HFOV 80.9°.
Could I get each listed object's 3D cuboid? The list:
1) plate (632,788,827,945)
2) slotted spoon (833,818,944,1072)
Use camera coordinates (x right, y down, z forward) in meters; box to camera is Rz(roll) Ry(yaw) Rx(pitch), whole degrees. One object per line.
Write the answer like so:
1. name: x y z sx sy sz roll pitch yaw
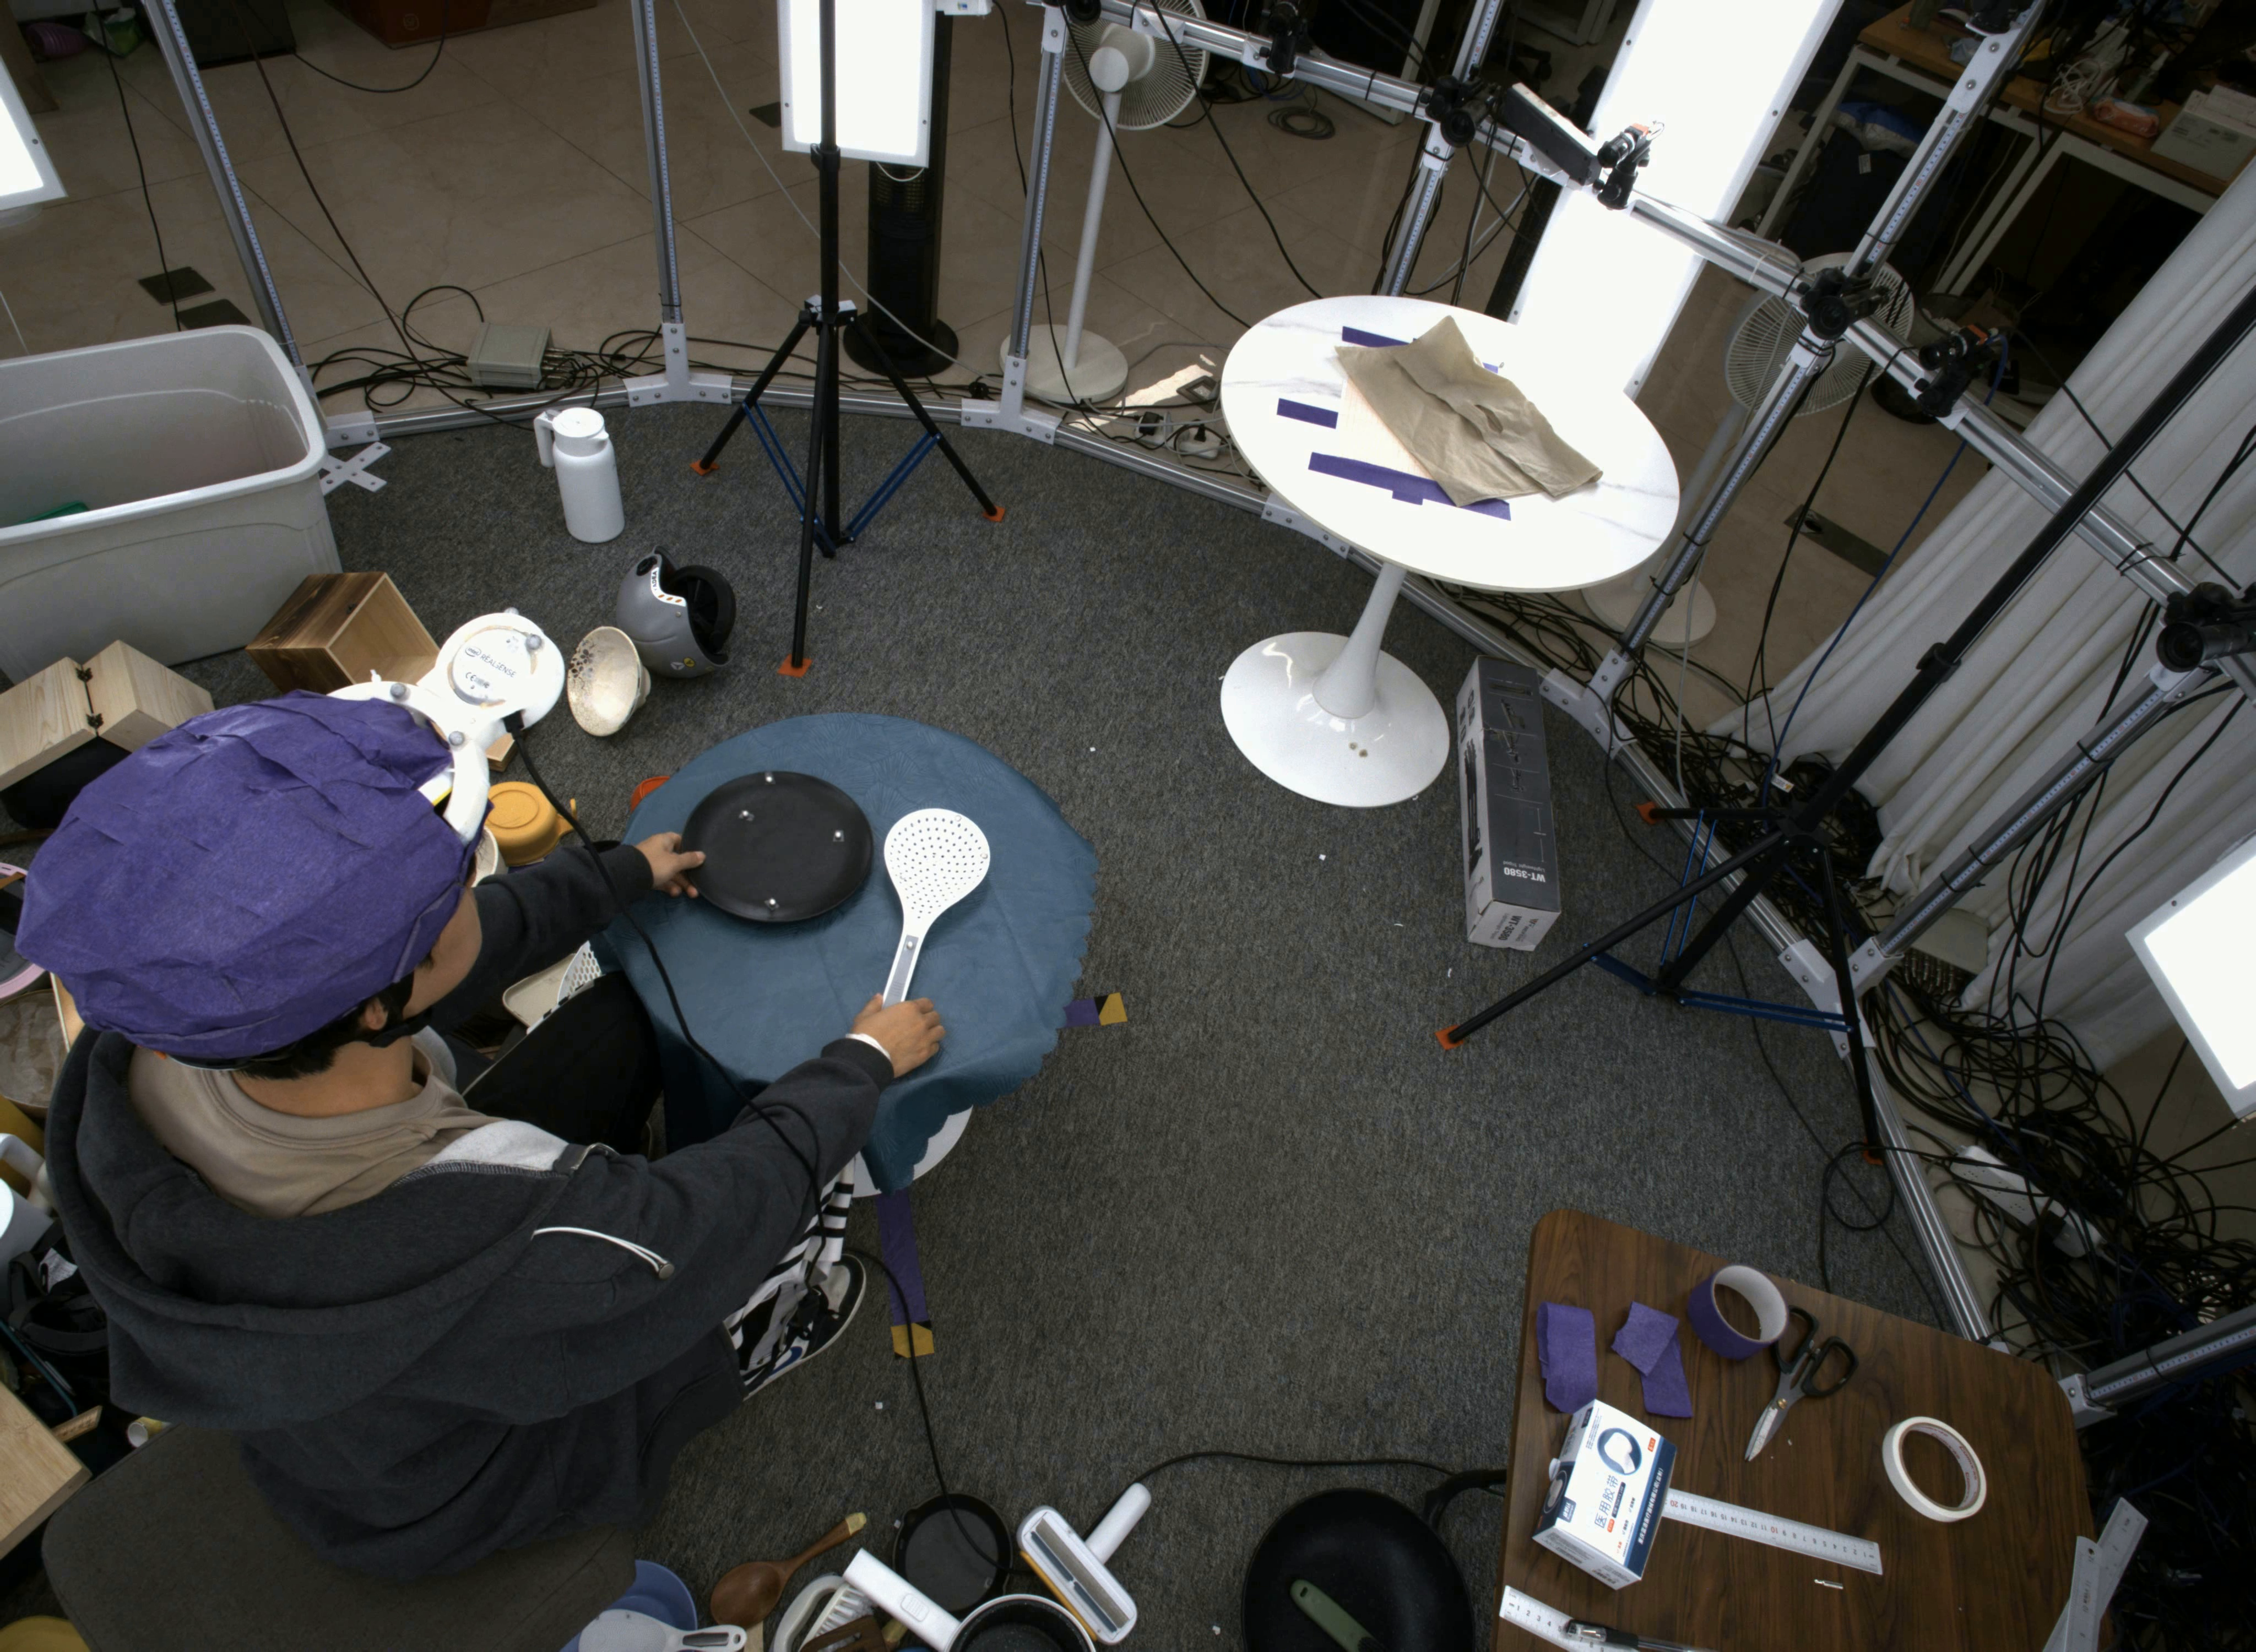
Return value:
1. plate: -0.508 0.051 1.651 0.244 0.024 0.240 9 52 -10
2. slotted spoon: -0.317 0.140 1.622 0.136 0.046 0.344 12 53 -8
